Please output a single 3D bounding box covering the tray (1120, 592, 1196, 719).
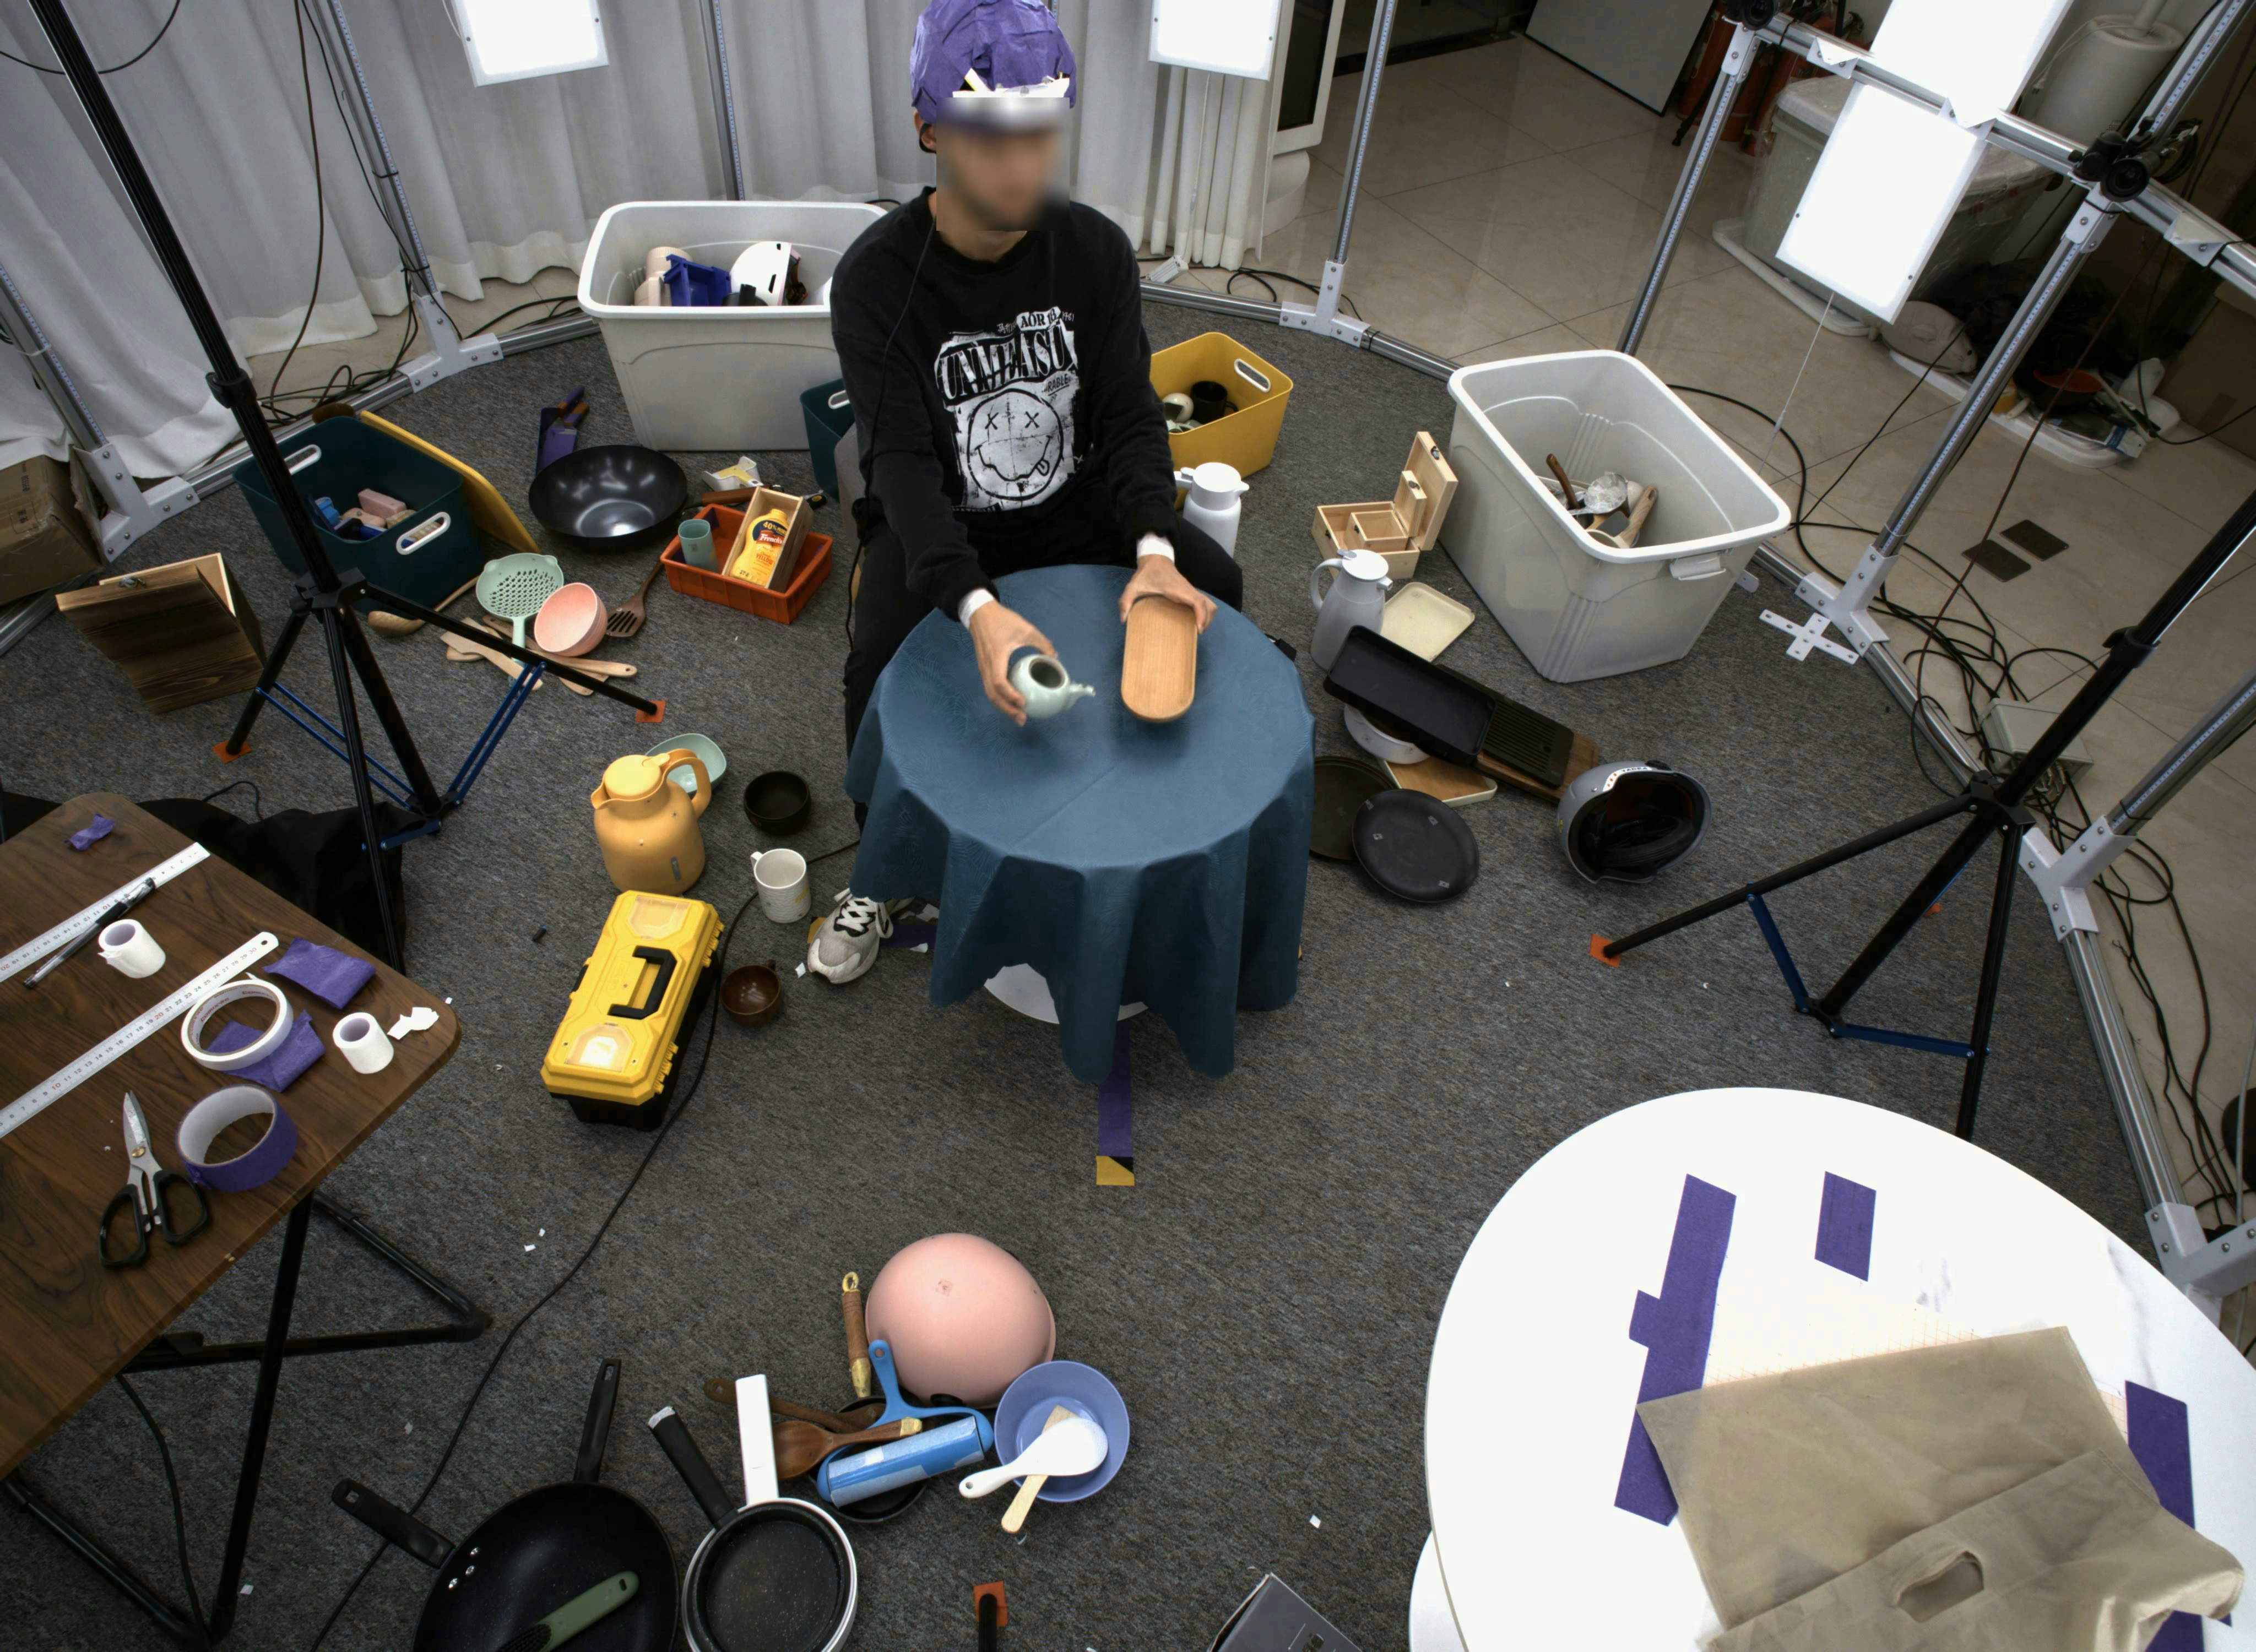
[{"bbox_3d":[0.043,-0.241,1.799,0.101,0.020,0.237,4,52,0],"label":"tray"}]

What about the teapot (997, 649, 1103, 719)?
[{"bbox_3d":[-0.111,-0.186,1.715,0.143,0.073,0.090,23,47,-14],"label":"teapot"}]
